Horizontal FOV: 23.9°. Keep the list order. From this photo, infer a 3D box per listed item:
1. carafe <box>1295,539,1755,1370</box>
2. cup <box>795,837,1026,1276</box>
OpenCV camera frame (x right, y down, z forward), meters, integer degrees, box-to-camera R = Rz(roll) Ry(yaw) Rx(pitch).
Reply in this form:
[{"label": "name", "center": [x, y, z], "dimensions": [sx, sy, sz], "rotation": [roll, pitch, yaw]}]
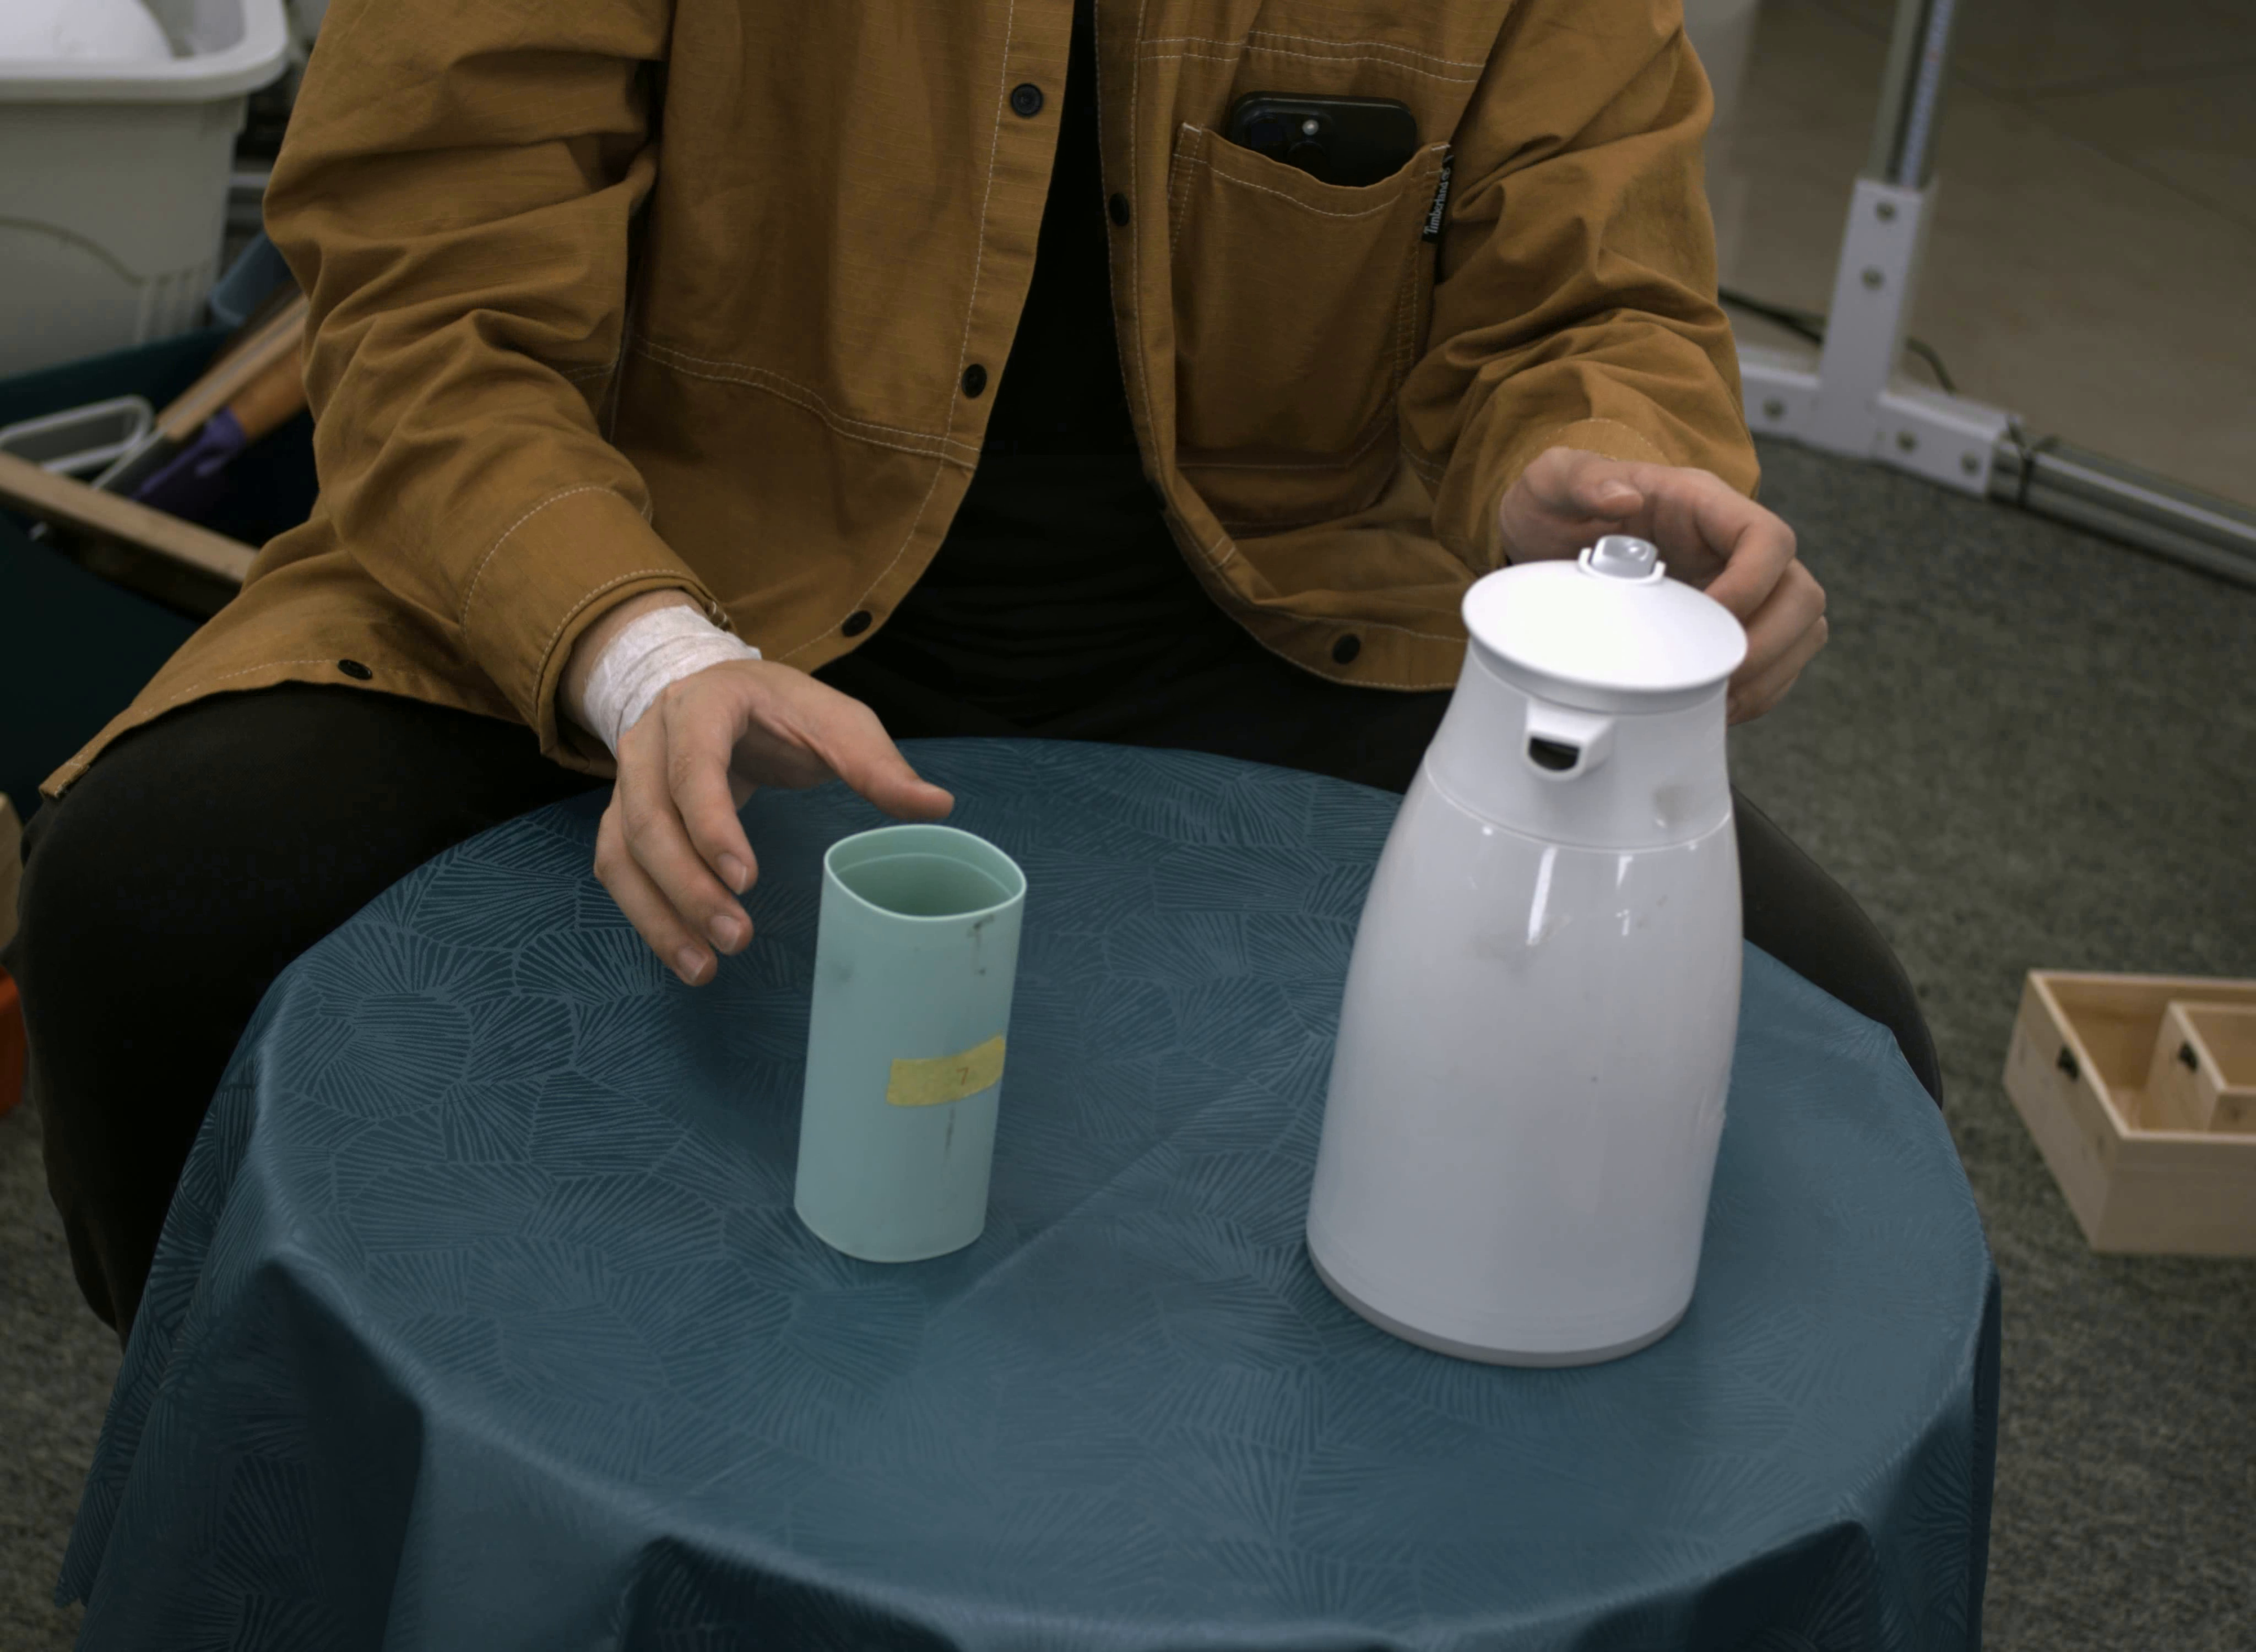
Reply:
[{"label": "carafe", "center": [0.142, 0.031, 1.751], "dimensions": [0.132, 0.248, 0.168], "rotation": [14, 26, 12]}, {"label": "cup", "center": [-0.073, 0.075, 1.749], "dimensions": [0.066, 0.132, 0.067], "rotation": [6, 26, -3]}]
